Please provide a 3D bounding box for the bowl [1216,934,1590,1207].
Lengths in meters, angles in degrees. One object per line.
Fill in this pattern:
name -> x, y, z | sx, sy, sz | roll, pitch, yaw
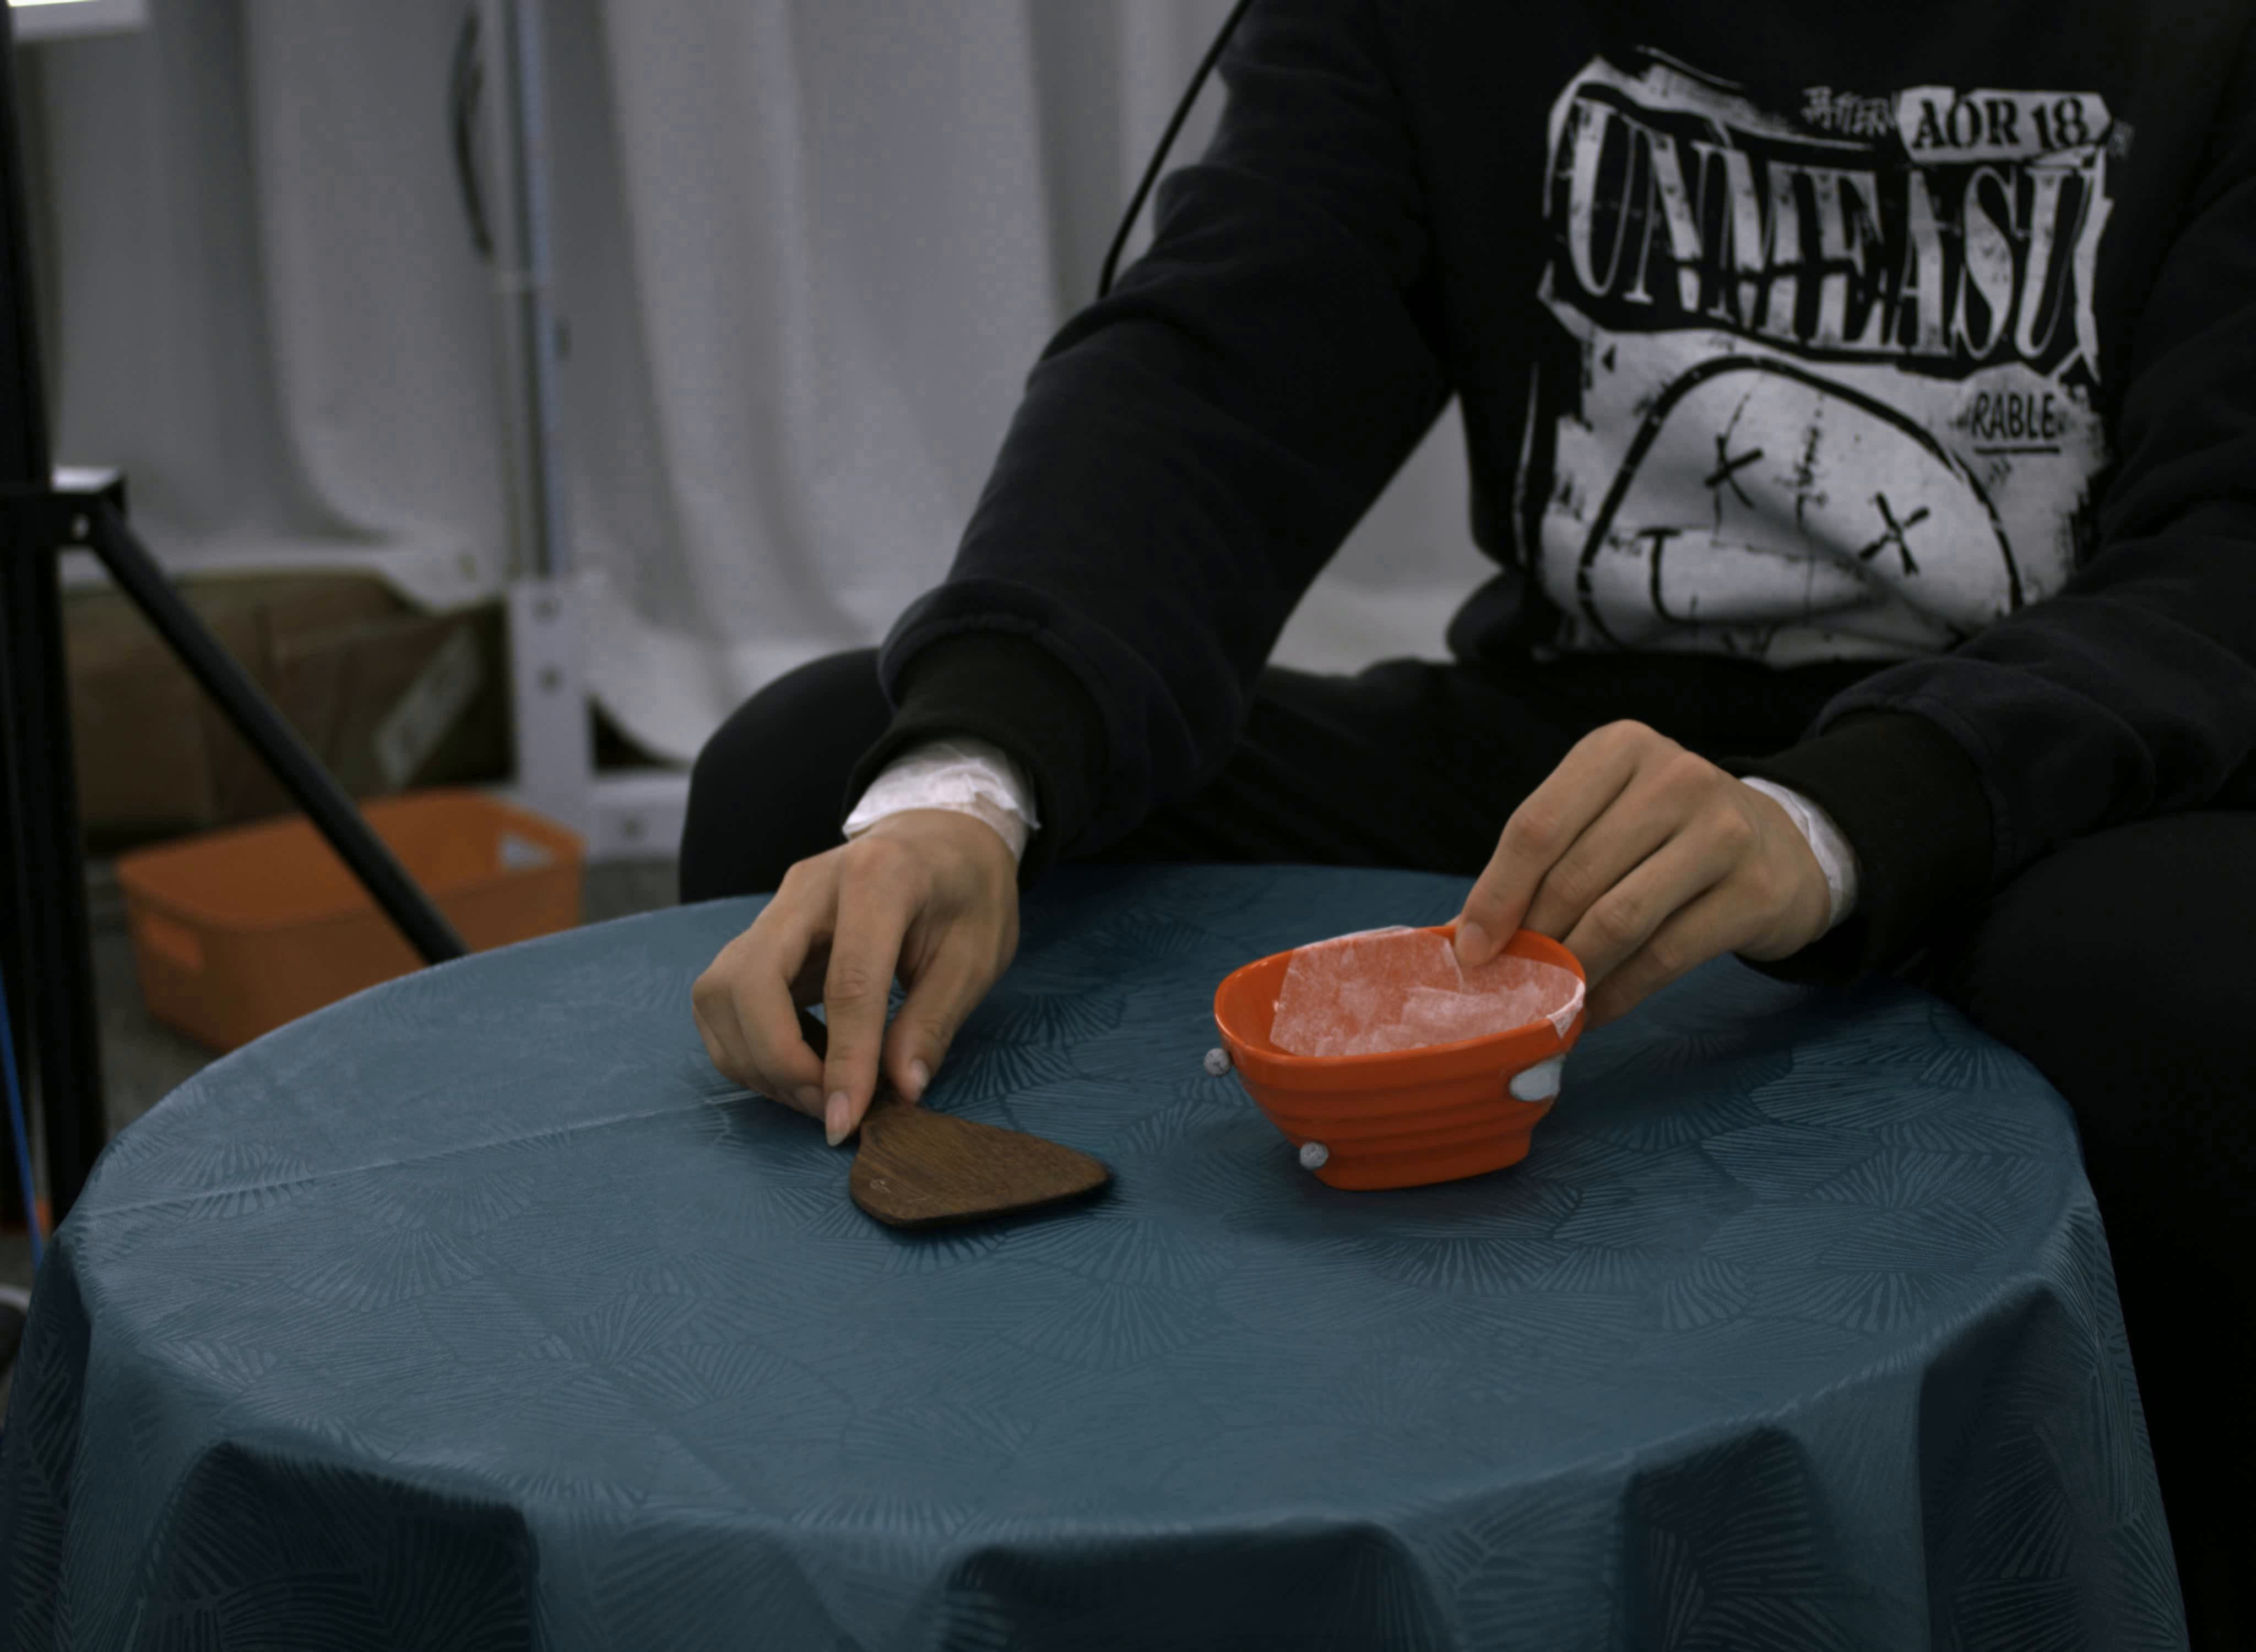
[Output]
bowl -> 0.085, 0.075, 1.571 | 0.118, 0.051, 0.119 | -11, 15, 2

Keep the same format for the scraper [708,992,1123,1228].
scraper -> -0.077, 0.085, 1.626 | 0.074, 0.011, 0.216 | -10, 20, -25
